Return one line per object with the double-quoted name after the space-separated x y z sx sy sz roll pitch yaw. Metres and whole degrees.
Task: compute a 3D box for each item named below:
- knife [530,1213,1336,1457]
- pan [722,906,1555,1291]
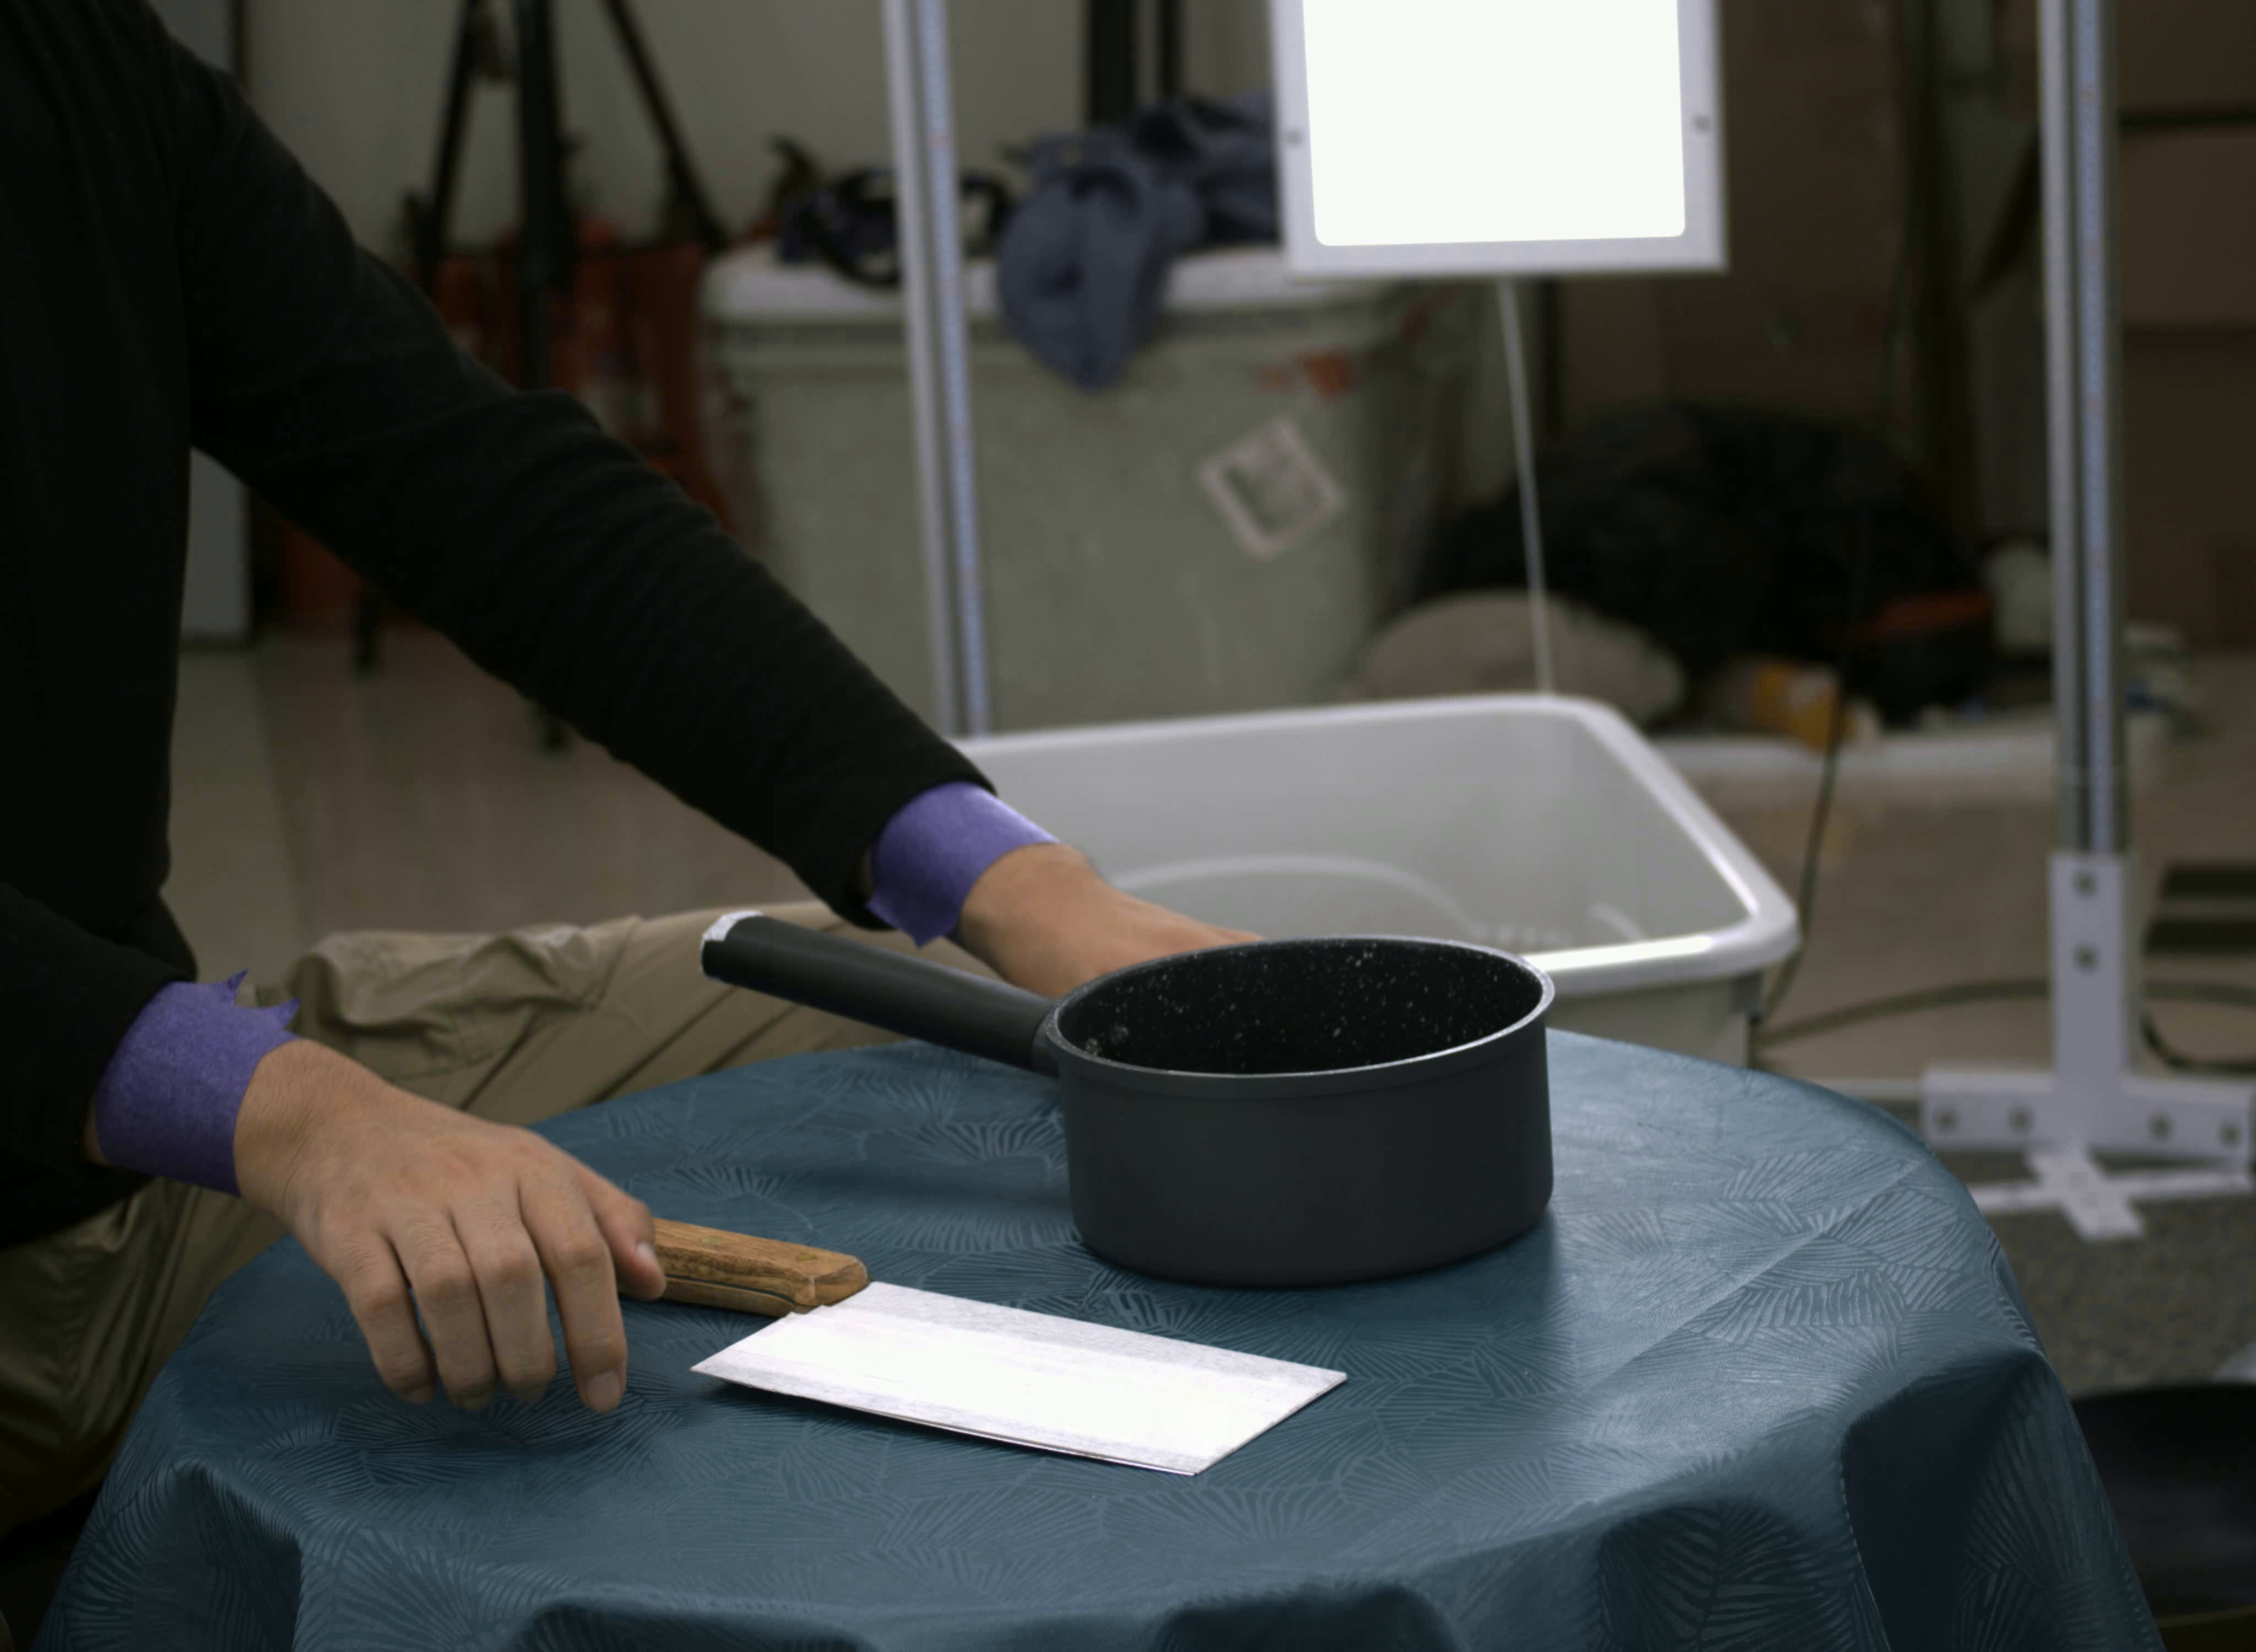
-0.081 0.164 1.747 0.312 0.021 0.090 7 20 35 "knife"
-0.005 0.086 1.893 0.335 0.087 0.168 6 17 37 "pan"
